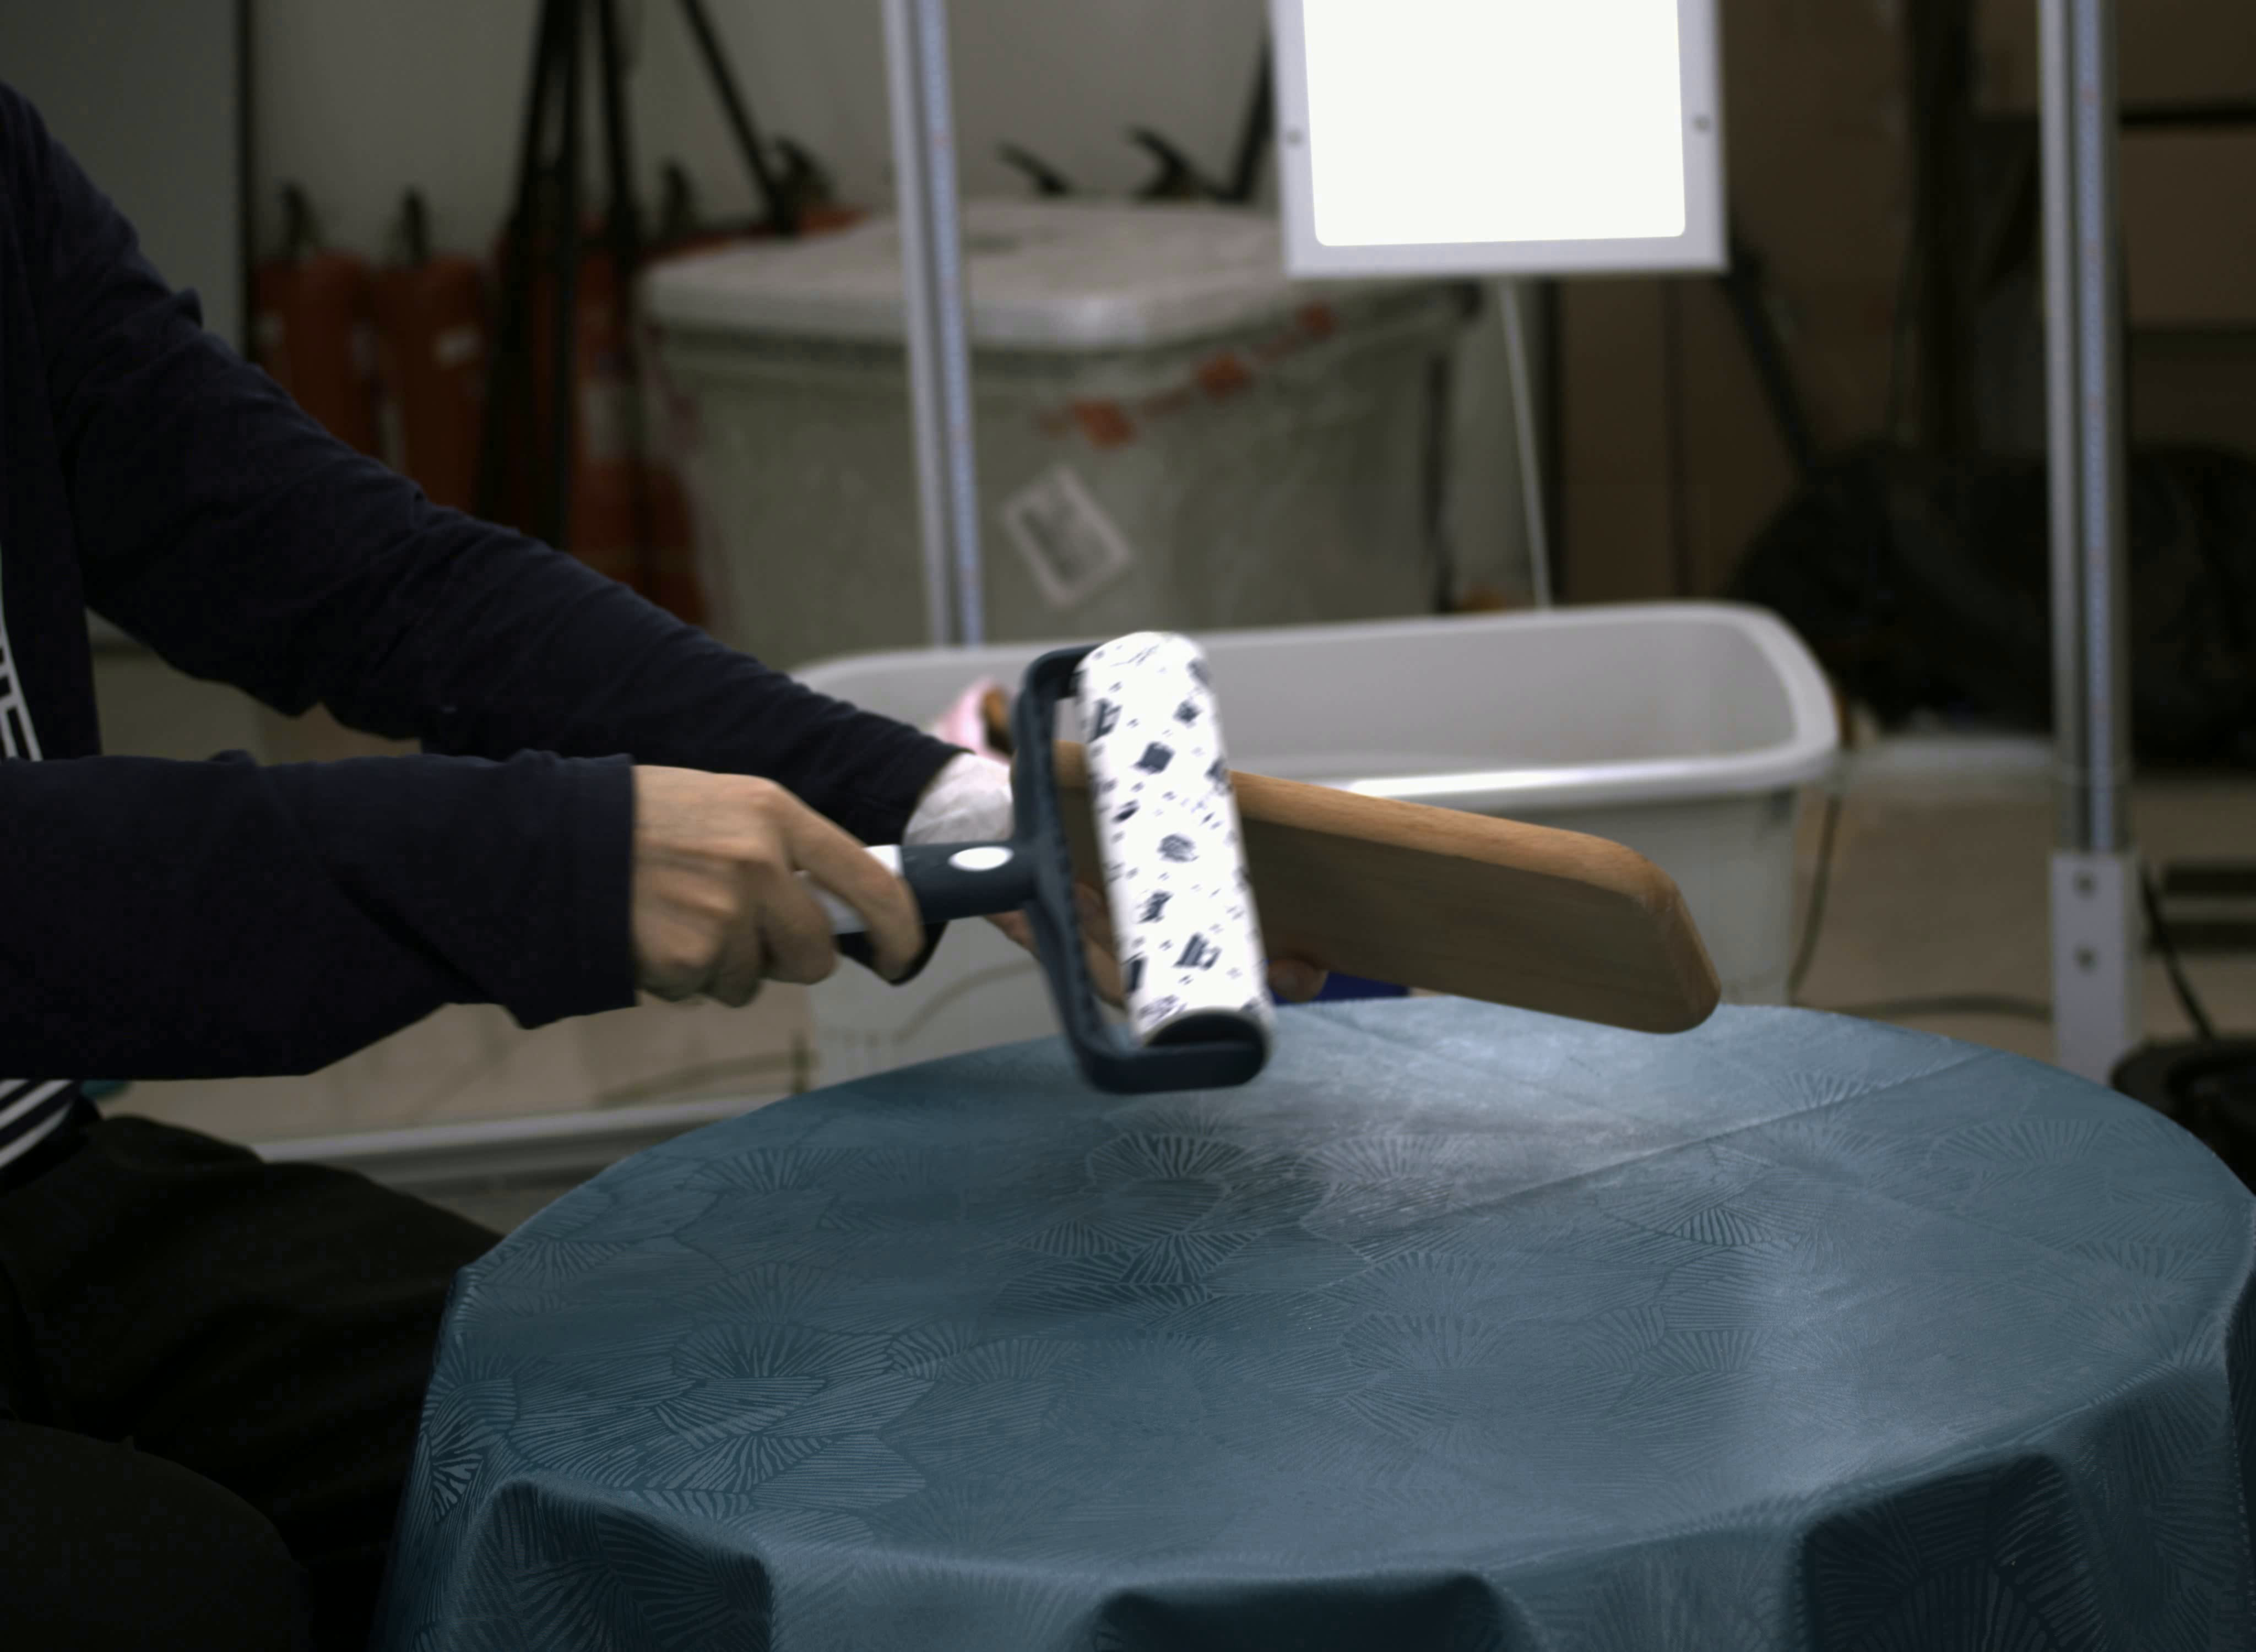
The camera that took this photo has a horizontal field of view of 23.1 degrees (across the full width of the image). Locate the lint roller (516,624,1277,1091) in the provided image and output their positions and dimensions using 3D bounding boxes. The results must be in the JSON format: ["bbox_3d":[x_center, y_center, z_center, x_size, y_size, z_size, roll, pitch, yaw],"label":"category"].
[{"bbox_3d":[-0.082,0.021,1.834,0.246,0.050,0.176,-8,53,-2],"label":"lint roller"}]

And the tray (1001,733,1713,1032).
[{"bbox_3d":[0.078,0.021,1.916,0.255,0.129,0.022,9,61,28],"label":"tray"}]
